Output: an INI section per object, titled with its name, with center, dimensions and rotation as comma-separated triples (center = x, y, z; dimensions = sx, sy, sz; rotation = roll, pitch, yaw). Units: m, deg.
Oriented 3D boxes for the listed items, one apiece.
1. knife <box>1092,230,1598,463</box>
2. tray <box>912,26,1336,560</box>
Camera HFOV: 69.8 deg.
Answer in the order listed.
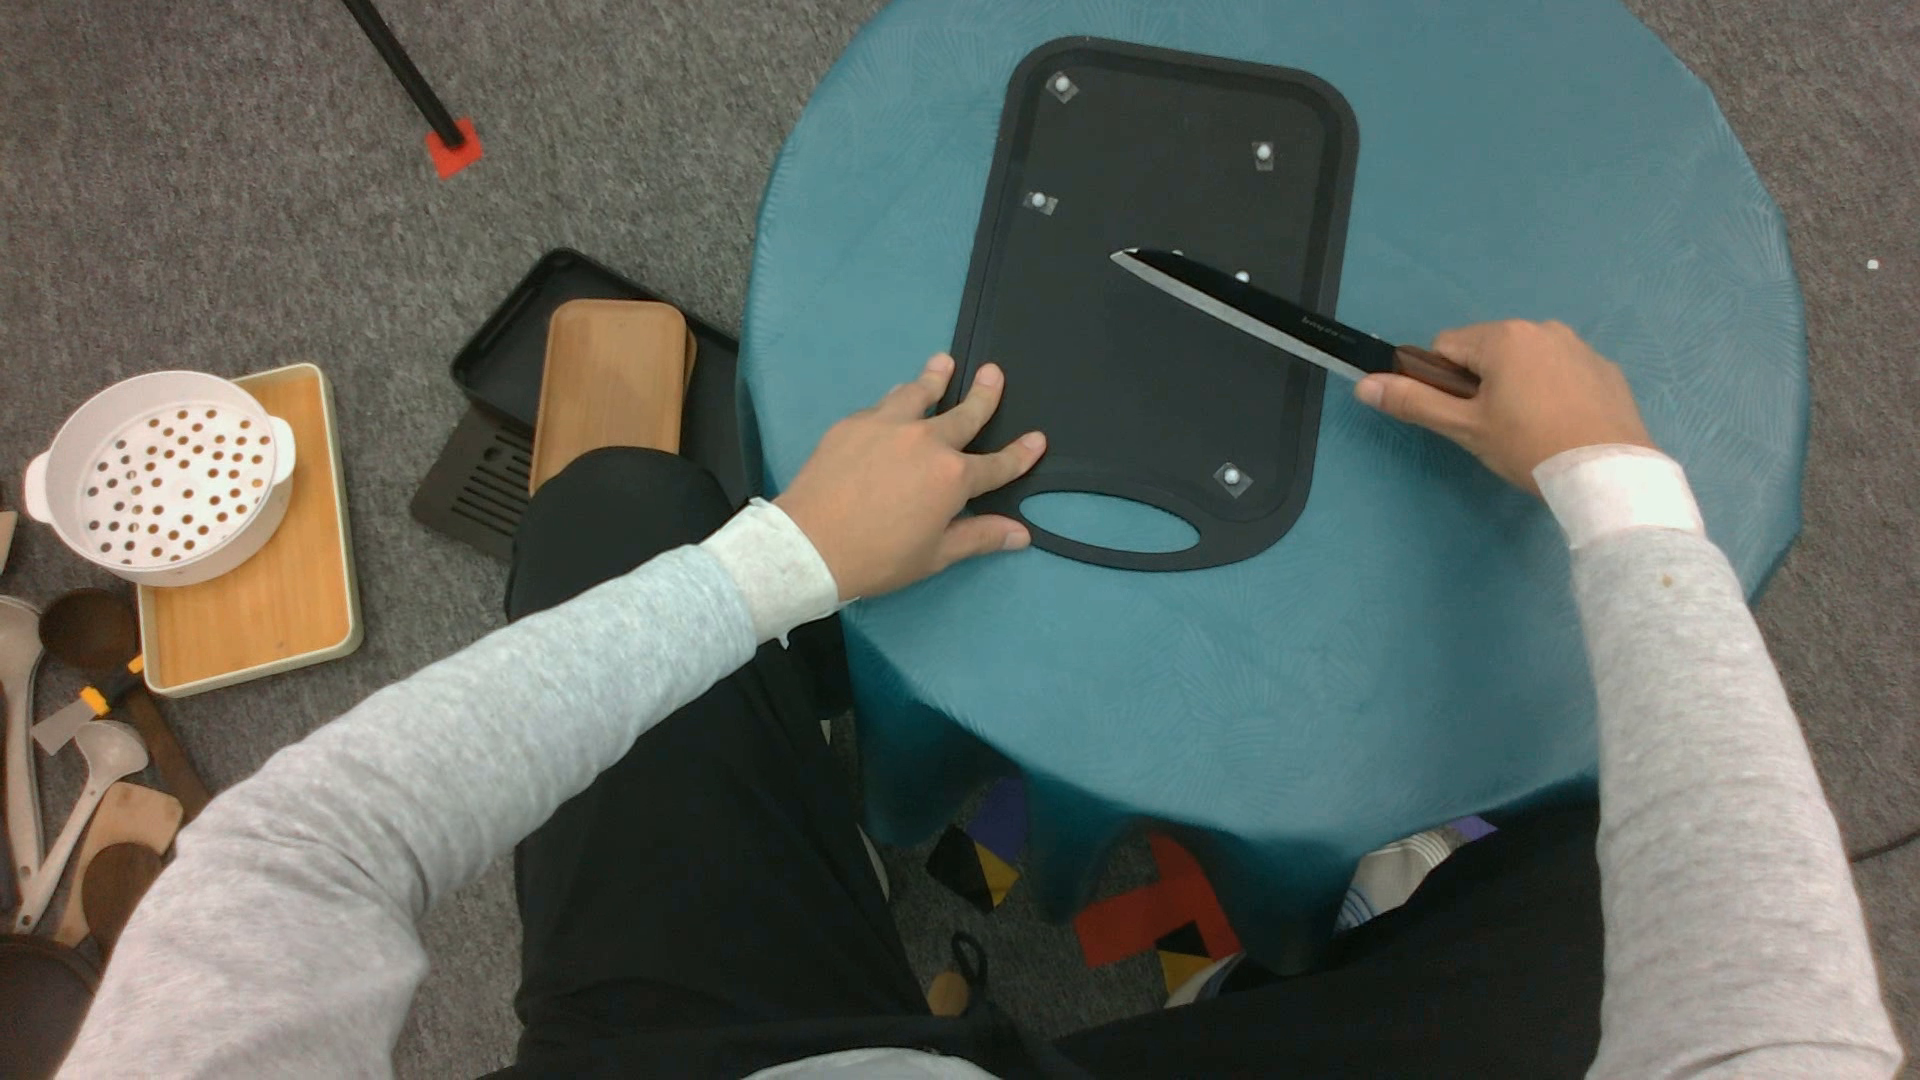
[knife]
center = 0.202, -0.109, 0.747
dimensions = 0.289, 0.050, 0.020
rotation = 26, 66, 11
[tray]
center = 0.096, -0.146, 0.784
dimensions = 0.211, 0.010, 0.326
rotation = 11, 74, 3
